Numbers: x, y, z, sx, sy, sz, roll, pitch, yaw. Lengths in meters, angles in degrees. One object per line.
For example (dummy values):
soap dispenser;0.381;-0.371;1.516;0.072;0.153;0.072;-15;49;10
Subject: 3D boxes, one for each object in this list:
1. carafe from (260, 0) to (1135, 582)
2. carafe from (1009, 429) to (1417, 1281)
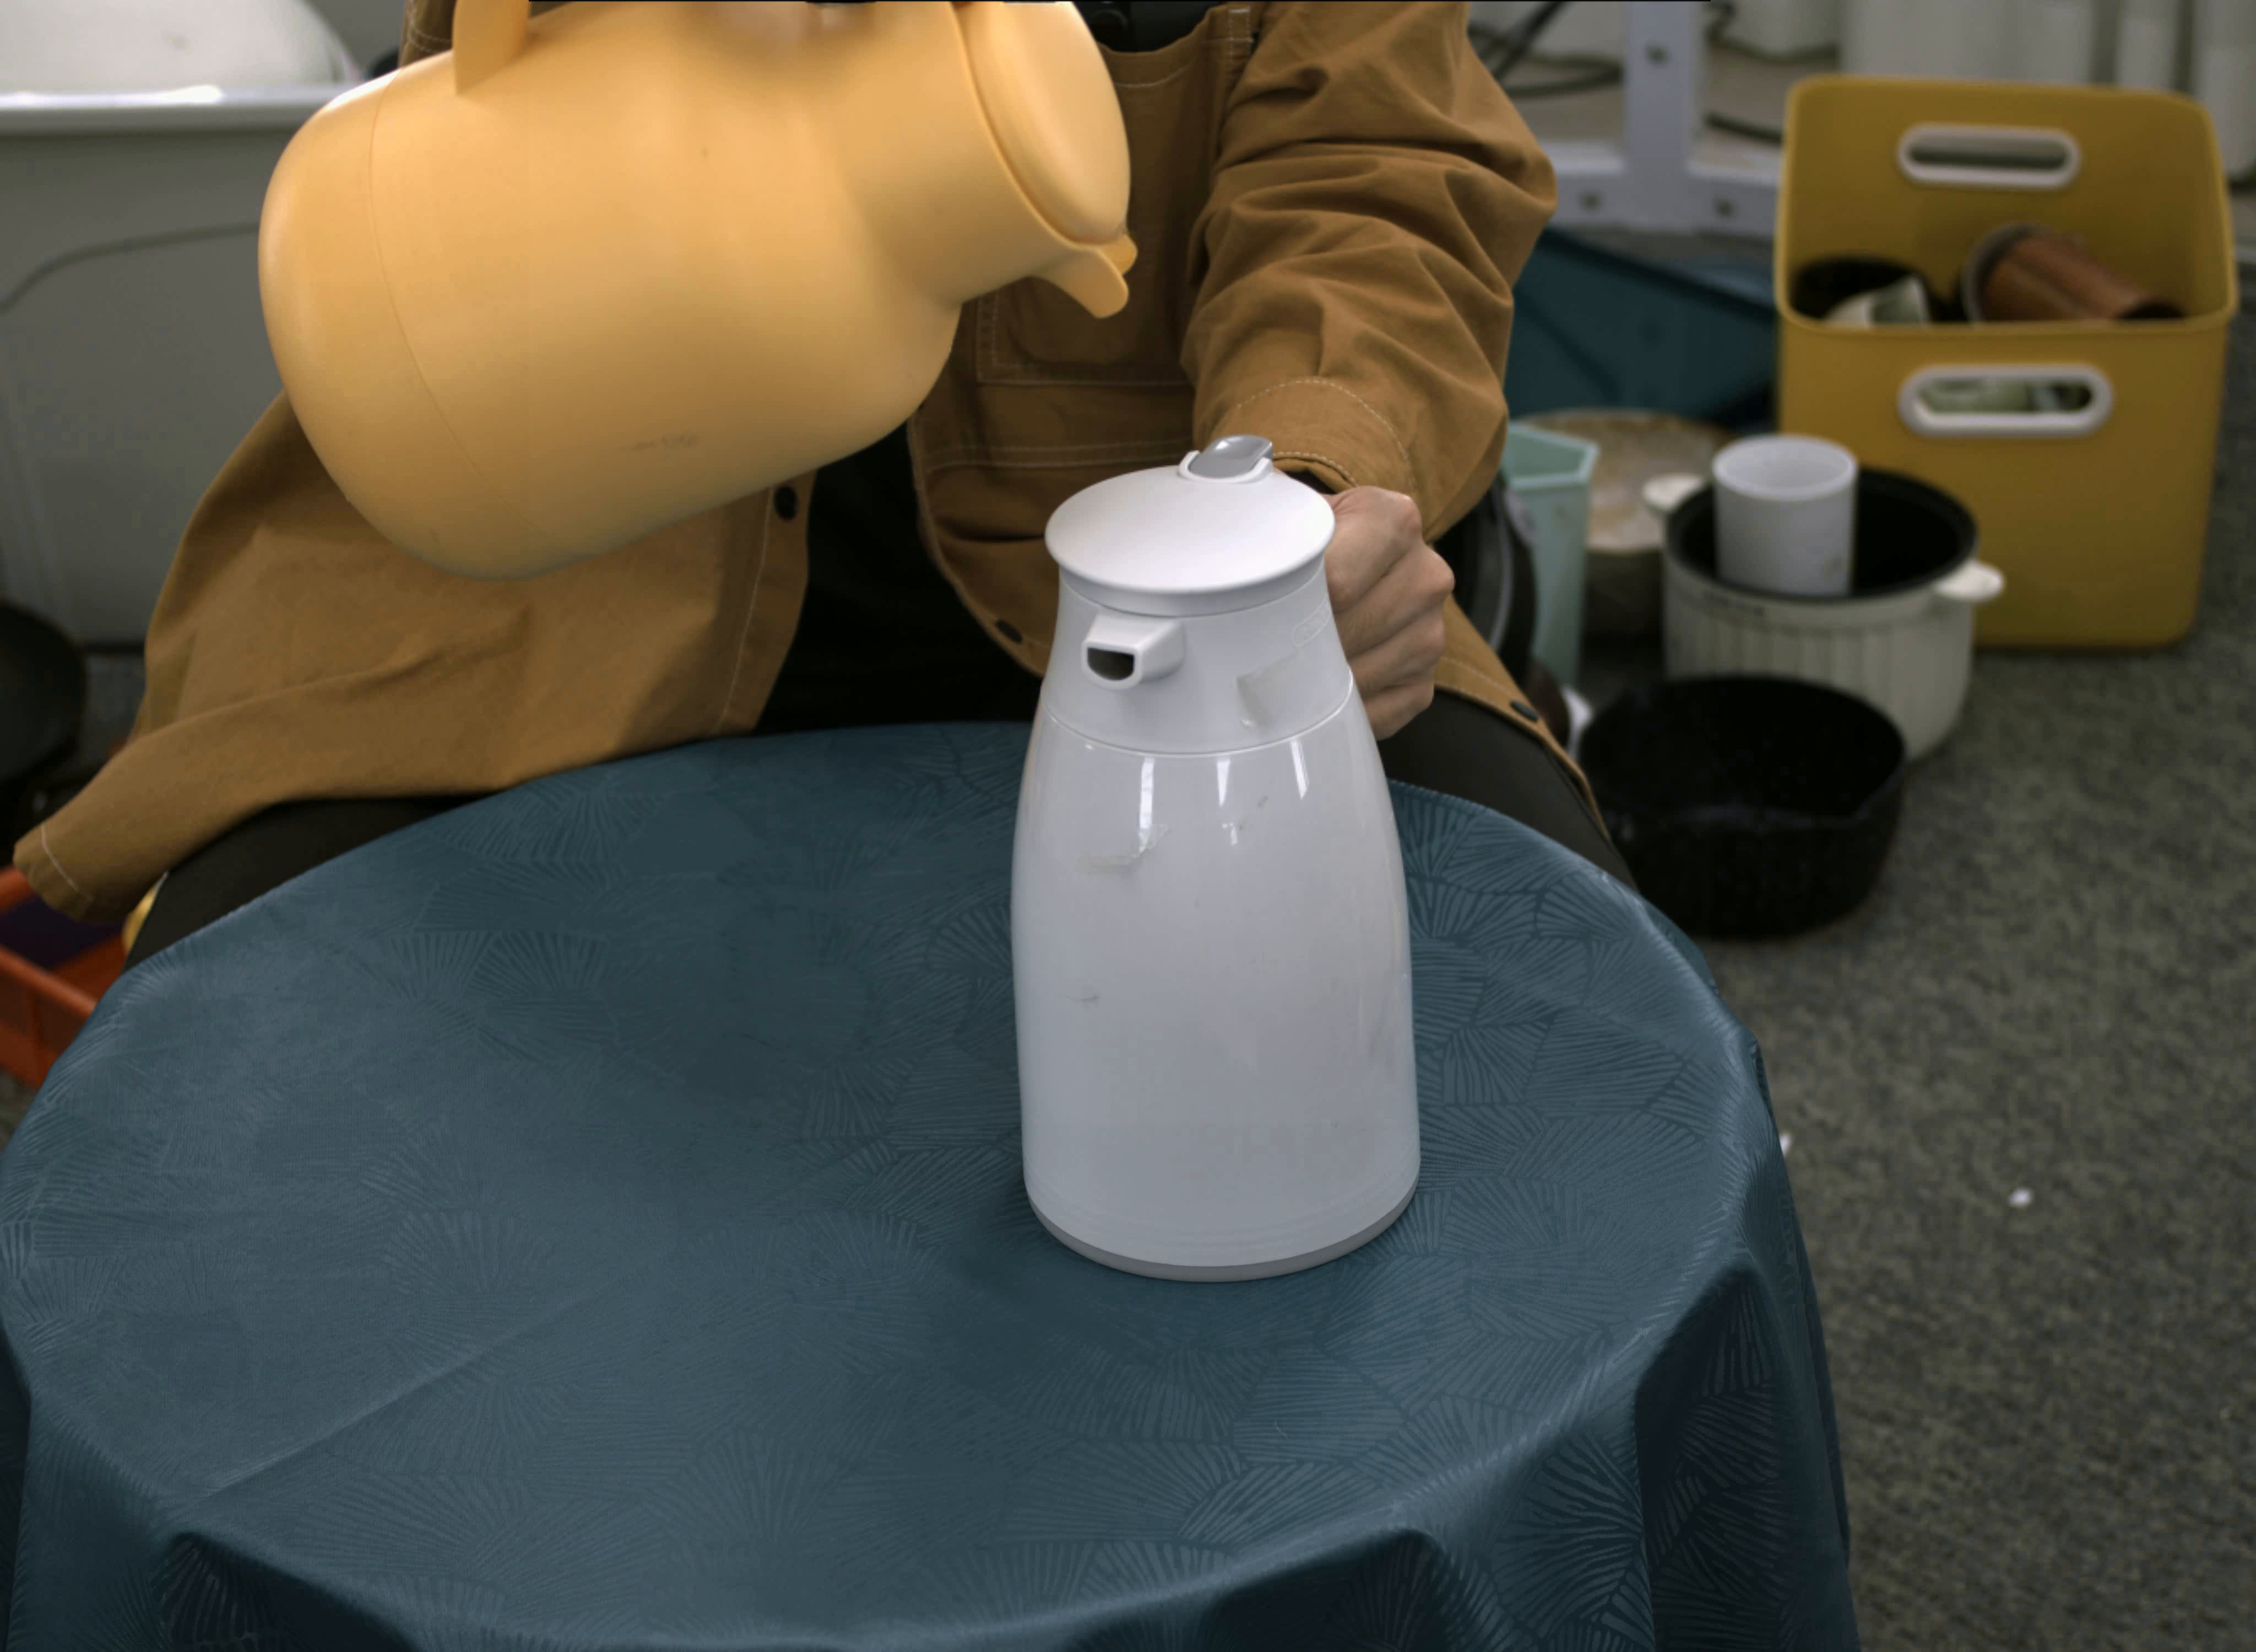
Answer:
carafe;-0.137;-0.200;1.730;0.257;0.201;0.166;-21;29;19
carafe;0.031;-0.002;1.827;0.131;0.246;0.170;8;28;22
